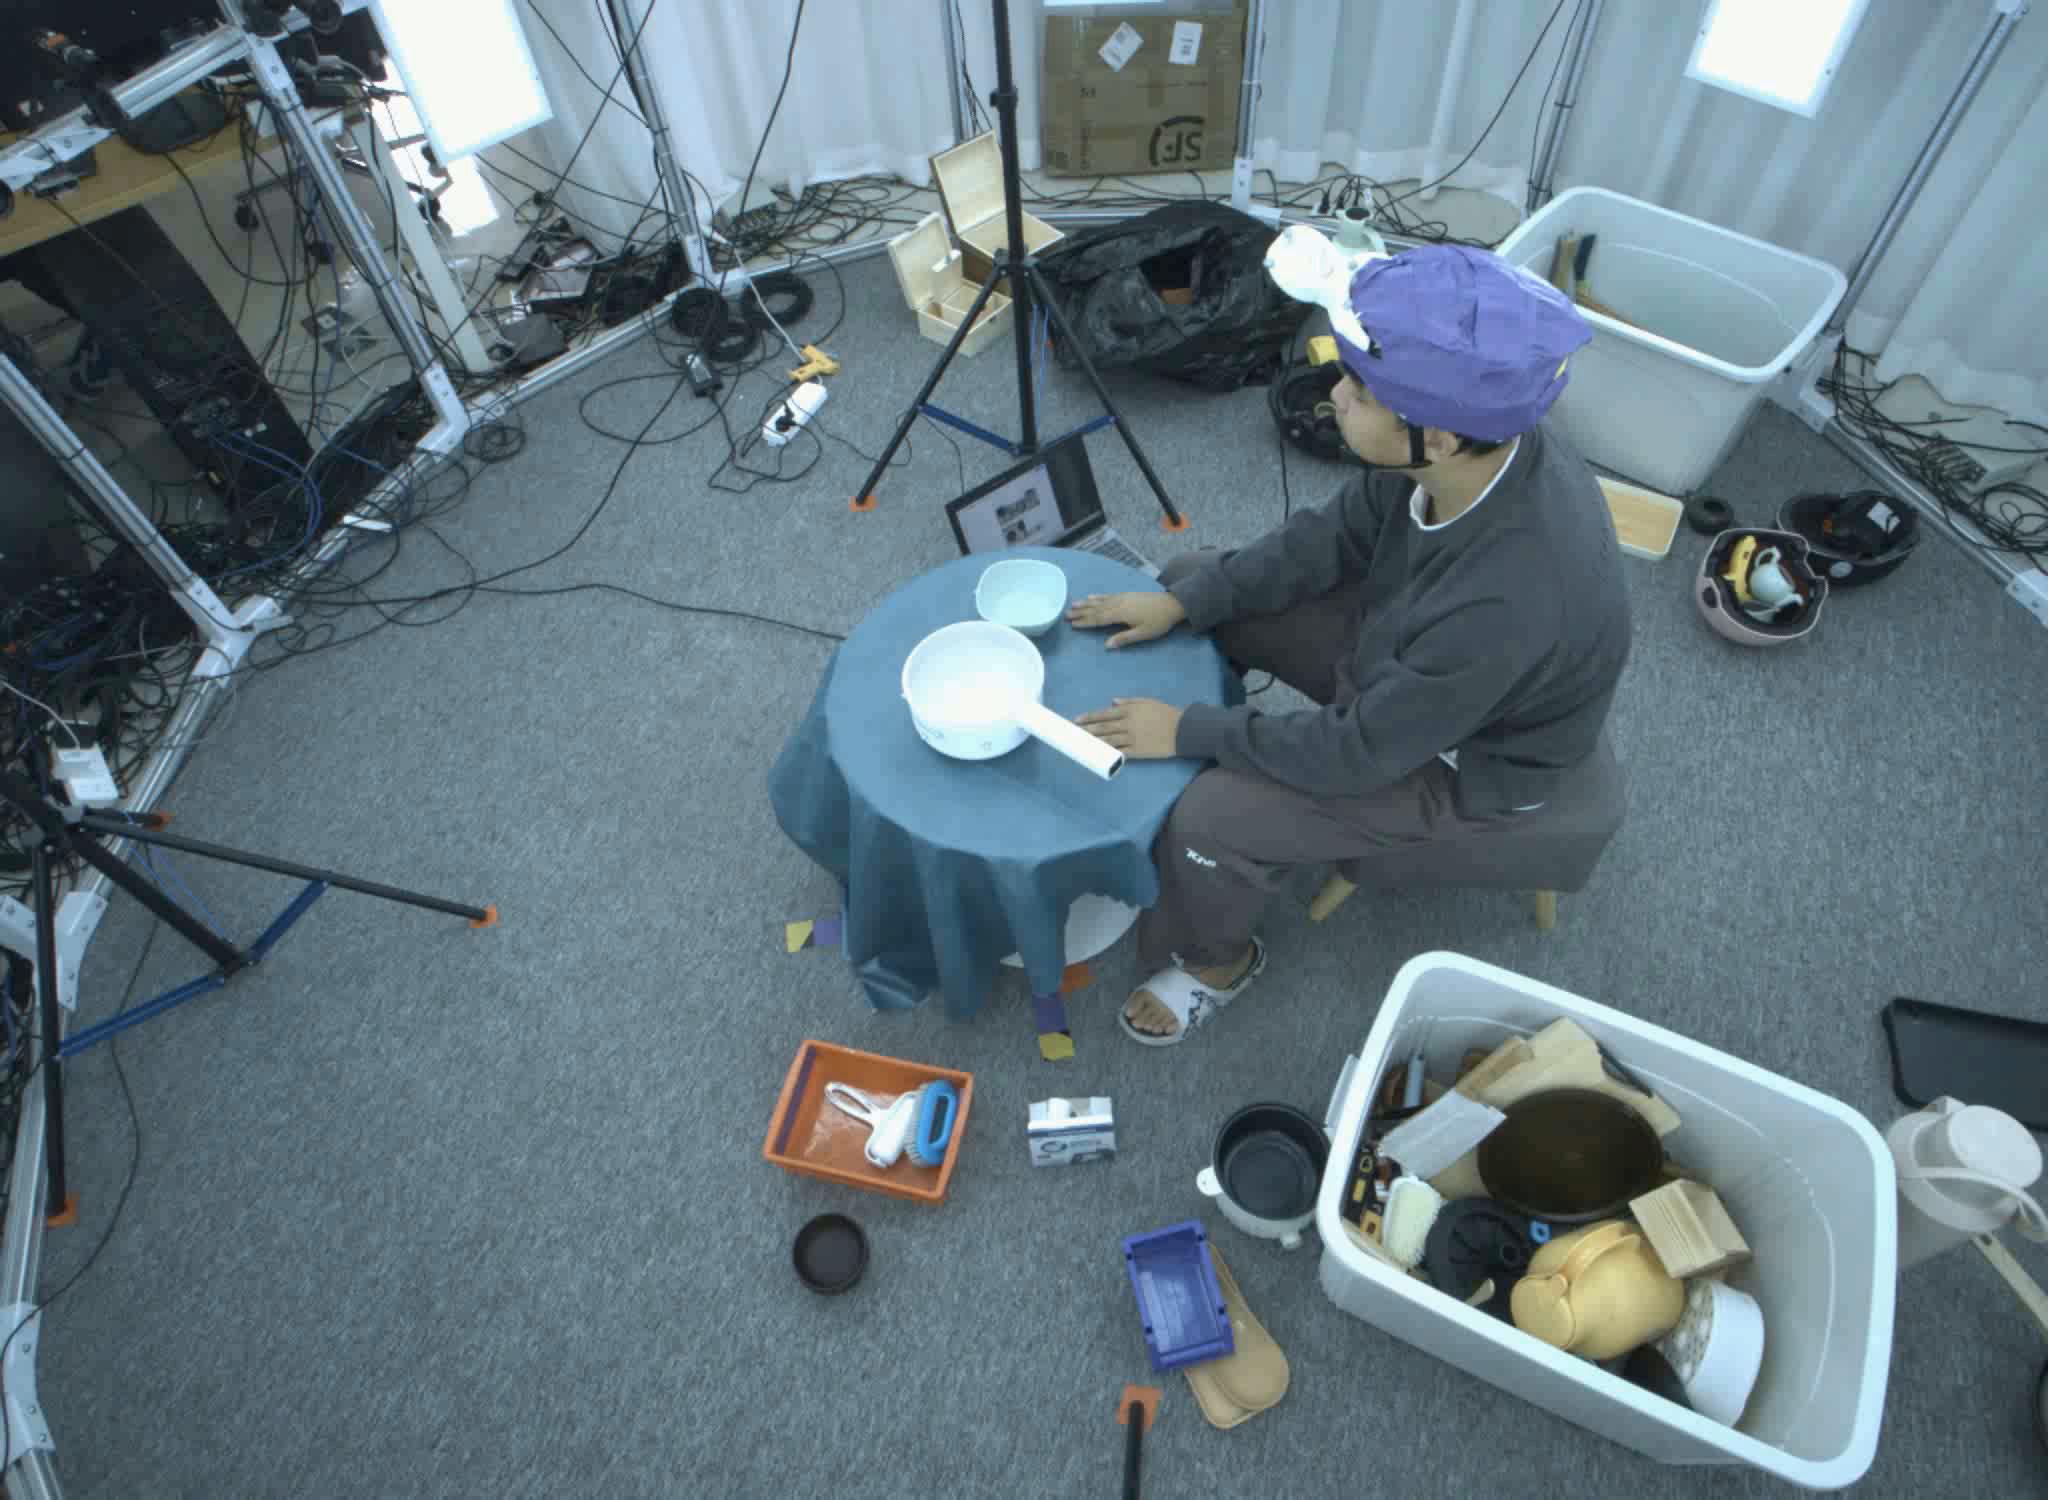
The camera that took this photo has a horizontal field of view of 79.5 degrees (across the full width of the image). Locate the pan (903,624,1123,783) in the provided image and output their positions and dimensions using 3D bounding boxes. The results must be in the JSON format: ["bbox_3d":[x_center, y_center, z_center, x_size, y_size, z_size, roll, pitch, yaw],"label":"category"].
[{"bbox_3d":[-0.012,-0.040,1.763,0.349,0.103,0.202,33,59,20],"label":"pan"}]

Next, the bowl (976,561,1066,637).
[{"bbox_3d":[-0.003,-0.226,1.912,0.151,0.059,0.150,-1,54,3],"label":"bowl"}]
